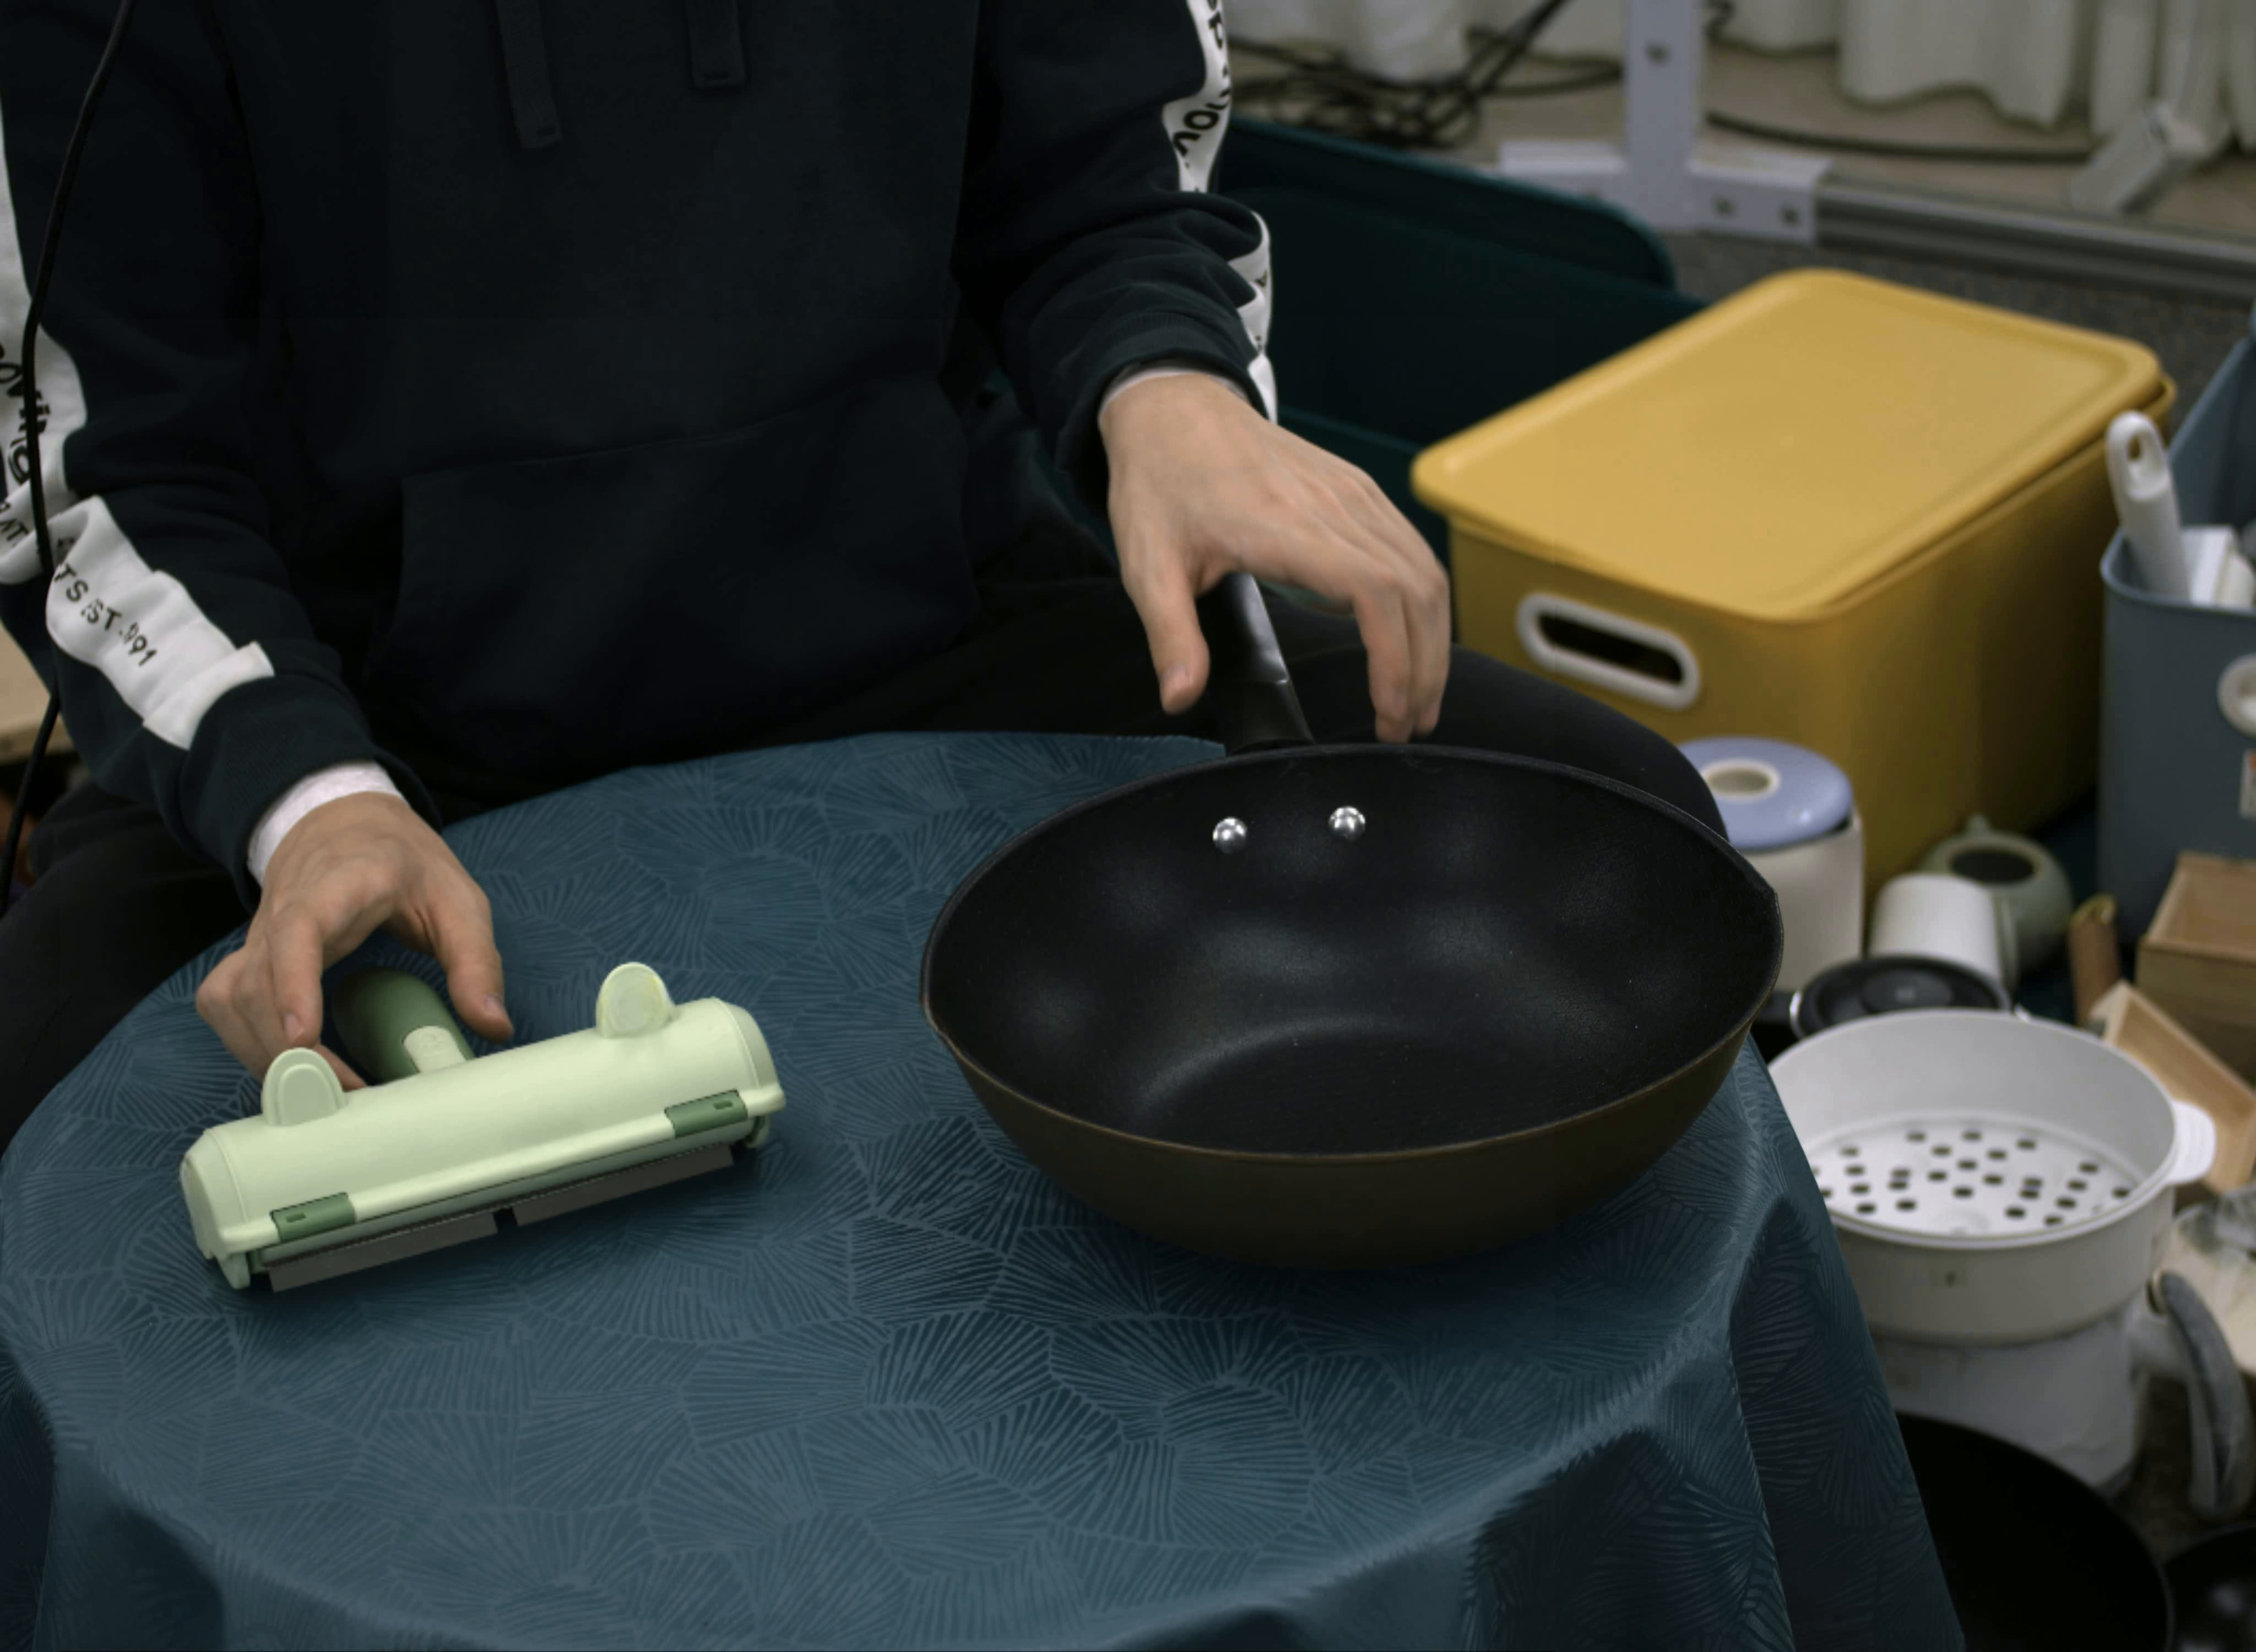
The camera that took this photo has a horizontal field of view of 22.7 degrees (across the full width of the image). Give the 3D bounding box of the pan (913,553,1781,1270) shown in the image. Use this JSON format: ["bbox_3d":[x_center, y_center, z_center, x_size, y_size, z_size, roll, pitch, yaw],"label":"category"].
[{"bbox_3d":[0.059,0.031,1.941,0.287,0.086,0.469,-6,26,-7],"label":"pan"}]

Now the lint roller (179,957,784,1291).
[{"bbox_3d":[-0.236,0.072,1.897,0.199,0.081,0.185,-14,35,-20],"label":"lint roller"}]
